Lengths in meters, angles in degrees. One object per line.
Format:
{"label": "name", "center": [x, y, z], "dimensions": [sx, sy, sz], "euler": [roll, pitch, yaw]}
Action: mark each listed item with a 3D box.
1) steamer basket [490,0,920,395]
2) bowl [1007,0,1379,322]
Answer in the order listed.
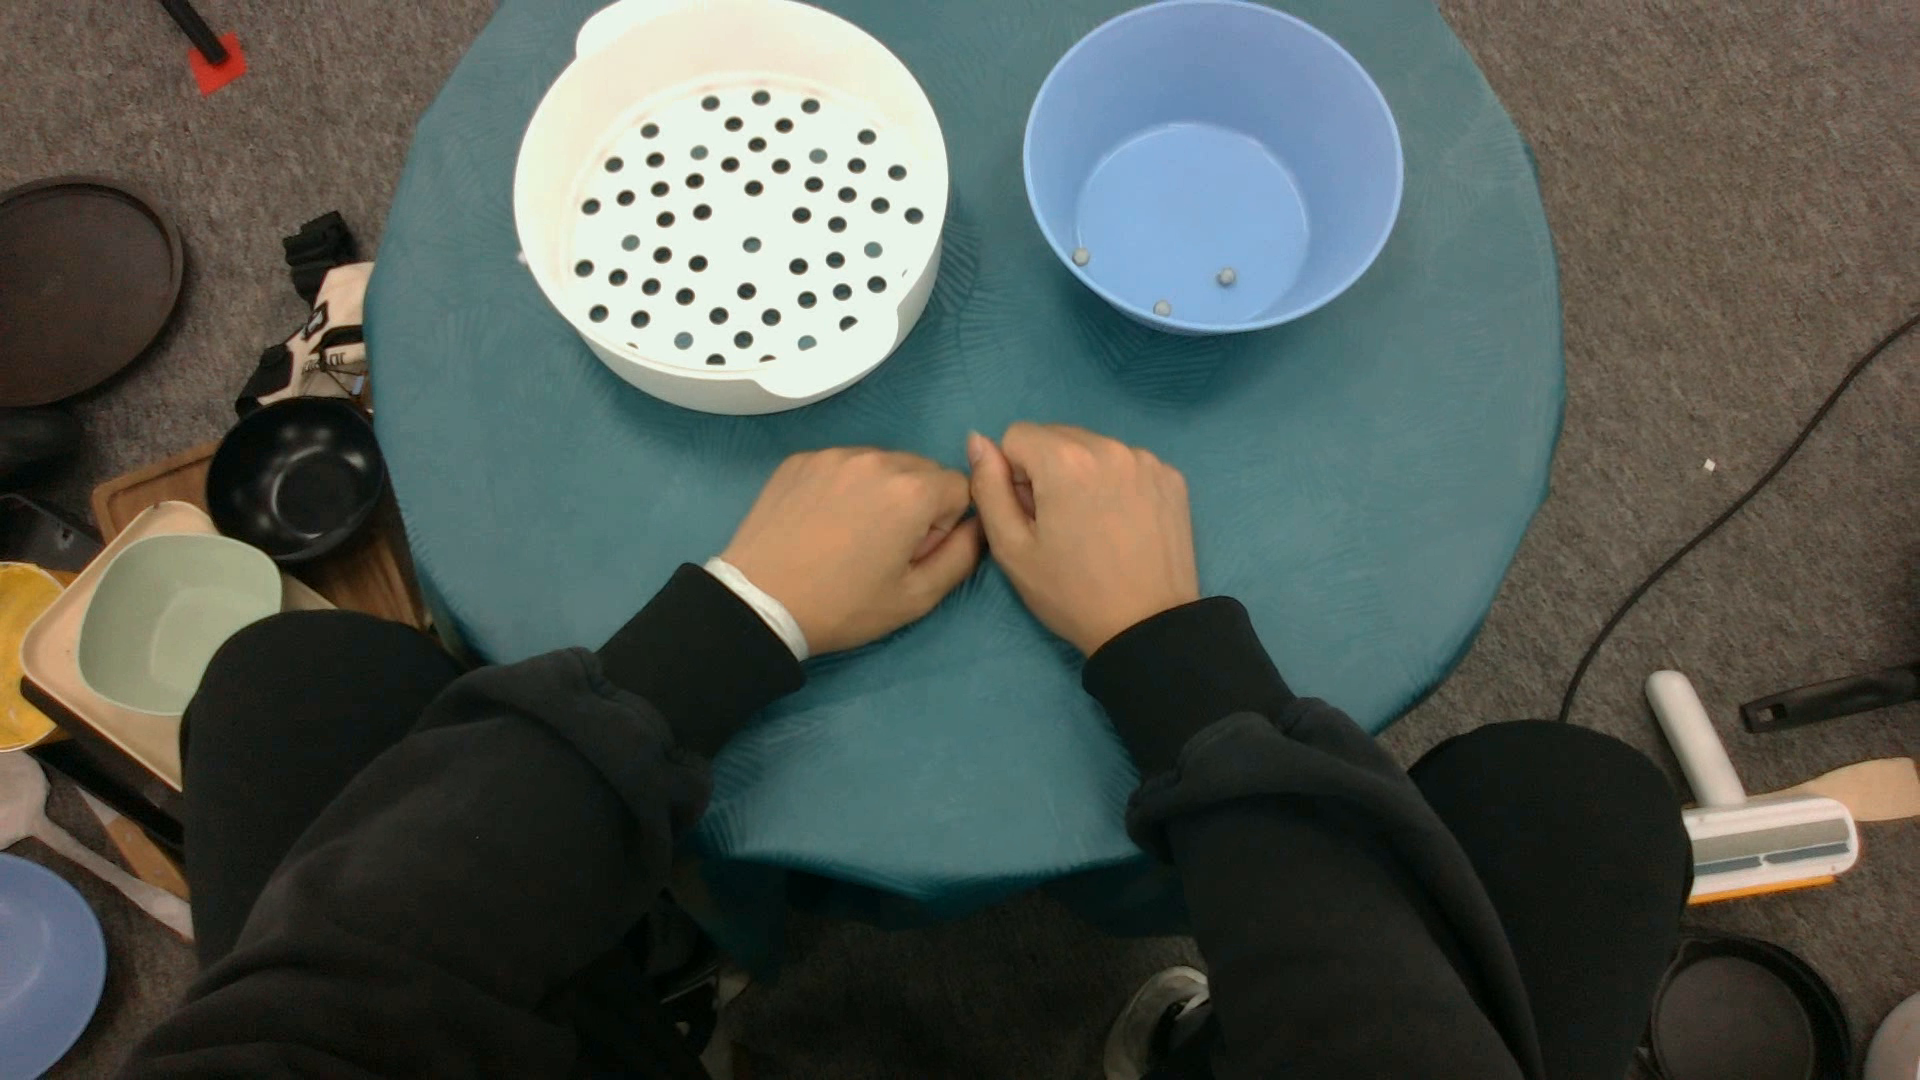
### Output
{"label": "steamer basket", "center": [-0.119, -0.168, 0.671], "dimensions": [0.202, 0.069, 0.231], "euler": [-28, 73, -10]}
{"label": "bowl", "center": [0.110, -0.175, 0.677], "dimensions": [0.176, 0.070, 0.176], "euler": [0, 73, 0]}
